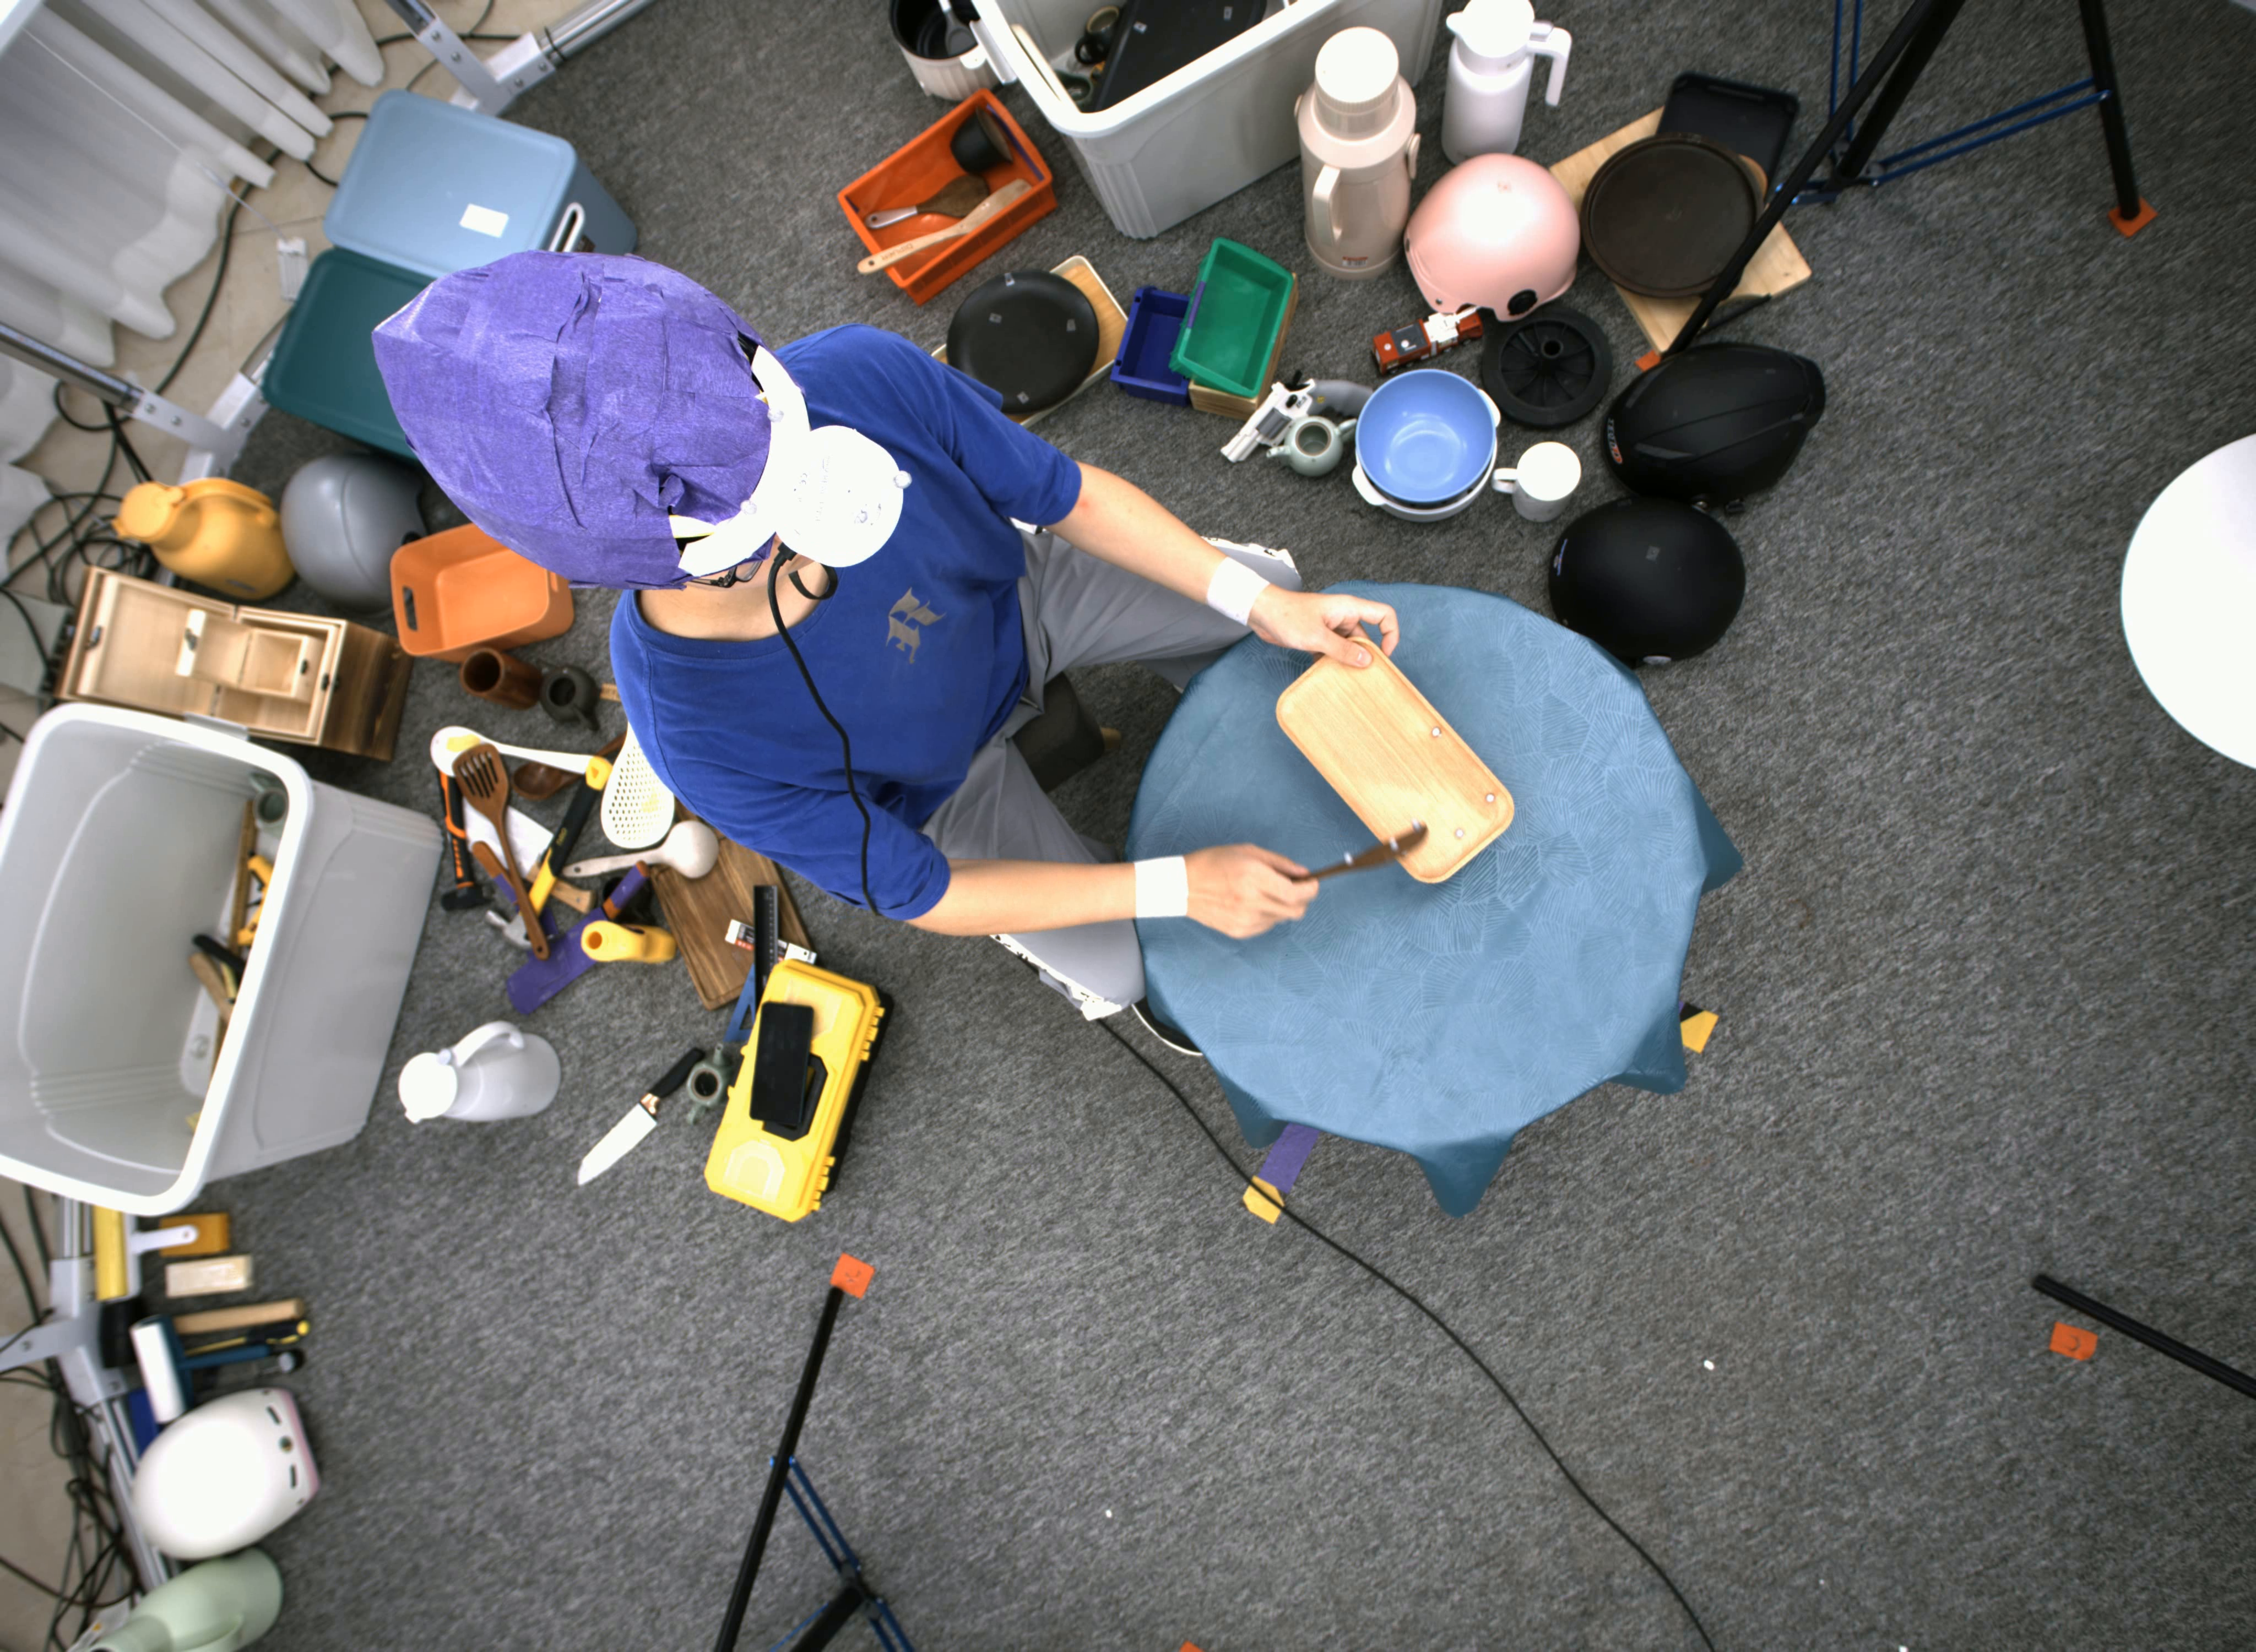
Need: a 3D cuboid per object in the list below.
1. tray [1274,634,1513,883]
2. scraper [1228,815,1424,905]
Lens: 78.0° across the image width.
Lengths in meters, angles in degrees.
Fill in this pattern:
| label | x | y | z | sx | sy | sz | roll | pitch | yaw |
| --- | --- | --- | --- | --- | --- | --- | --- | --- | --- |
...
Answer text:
| label | x | y | z | sx | sy | sz | roll | pitch | yaw |
| --- | --- | --- | --- | --- | --- | --- | --- | --- | --- |
| tray | 0.265 | -0.069 | 1.377 | 0.132 | 0.023 | 0.250 | -41 | 84 | 12 |
| scraper | 0.194 | 0.036 | 1.362 | 0.214 | 0.074 | 0.011 | -23 | 99 | 20 |
